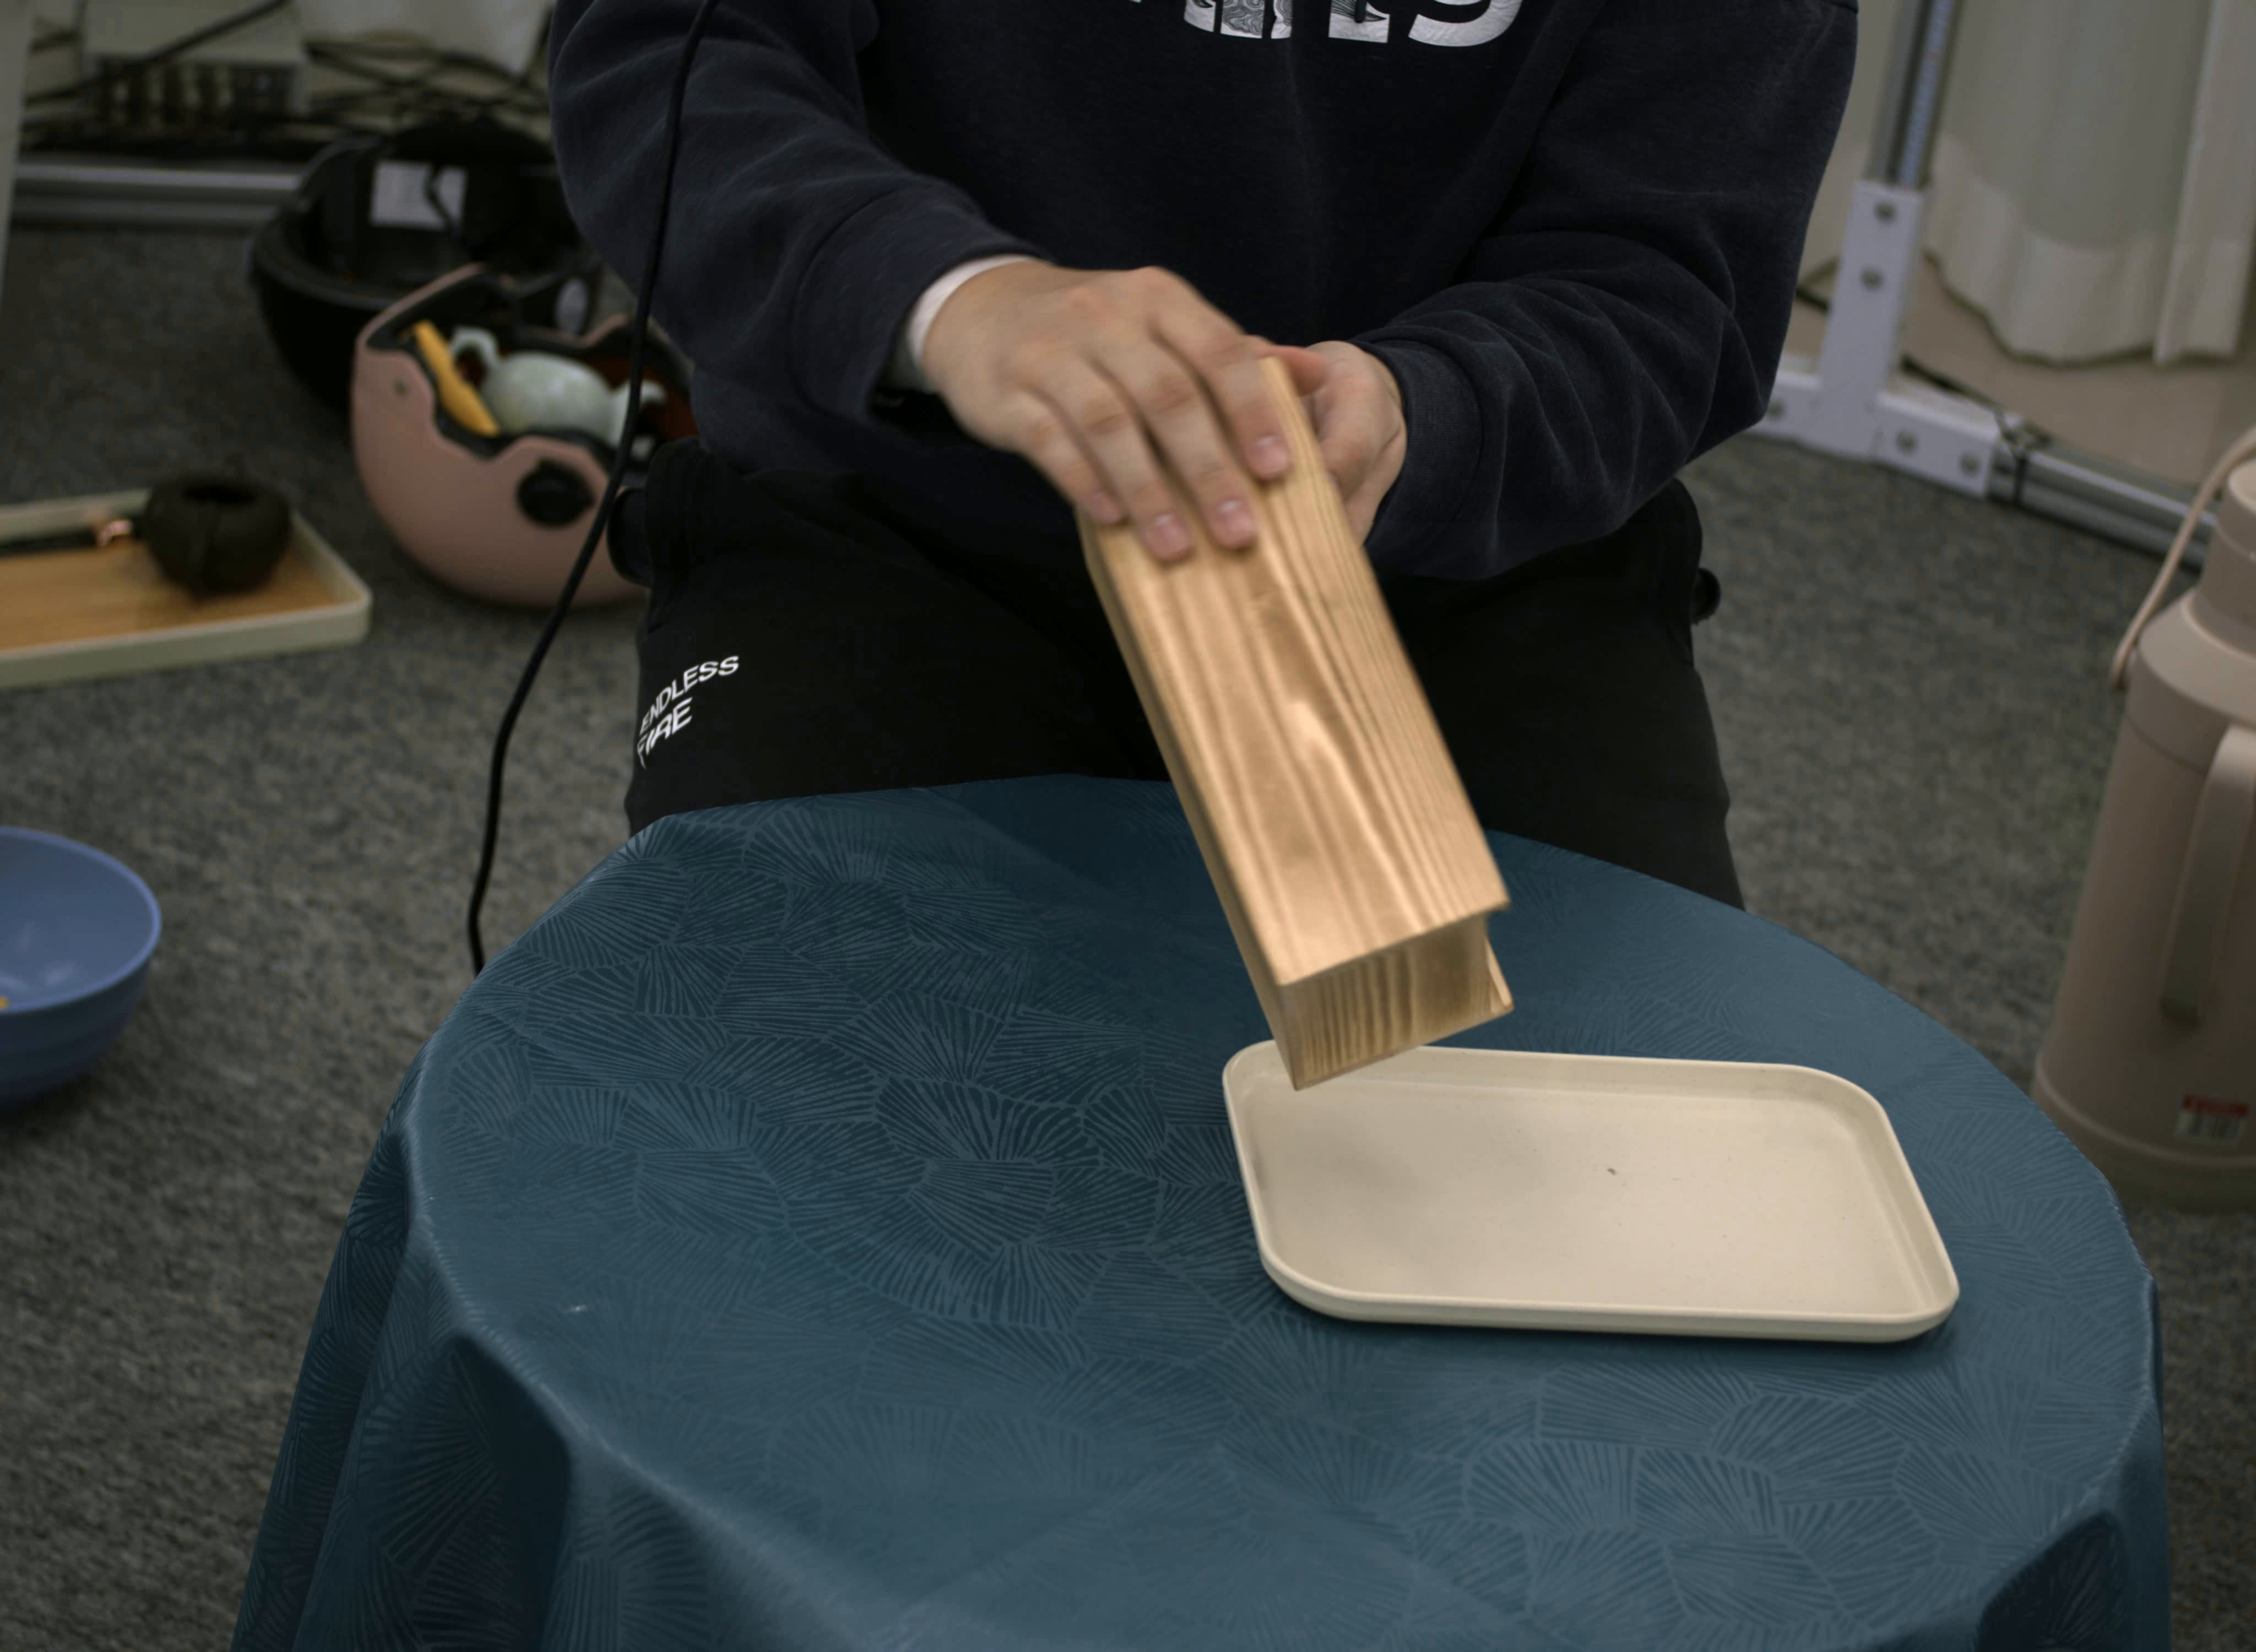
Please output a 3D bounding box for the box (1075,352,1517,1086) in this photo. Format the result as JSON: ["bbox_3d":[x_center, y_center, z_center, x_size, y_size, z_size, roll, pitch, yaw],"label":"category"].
[{"bbox_3d":[0.055,-0.035,1.778,0.080,0.107,0.213,-19,68,-4],"label":"box"}]

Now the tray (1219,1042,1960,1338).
[{"bbox_3d":[0.155,0.125,1.820,0.238,0.017,0.172,3,26,-8],"label":"tray"}]
